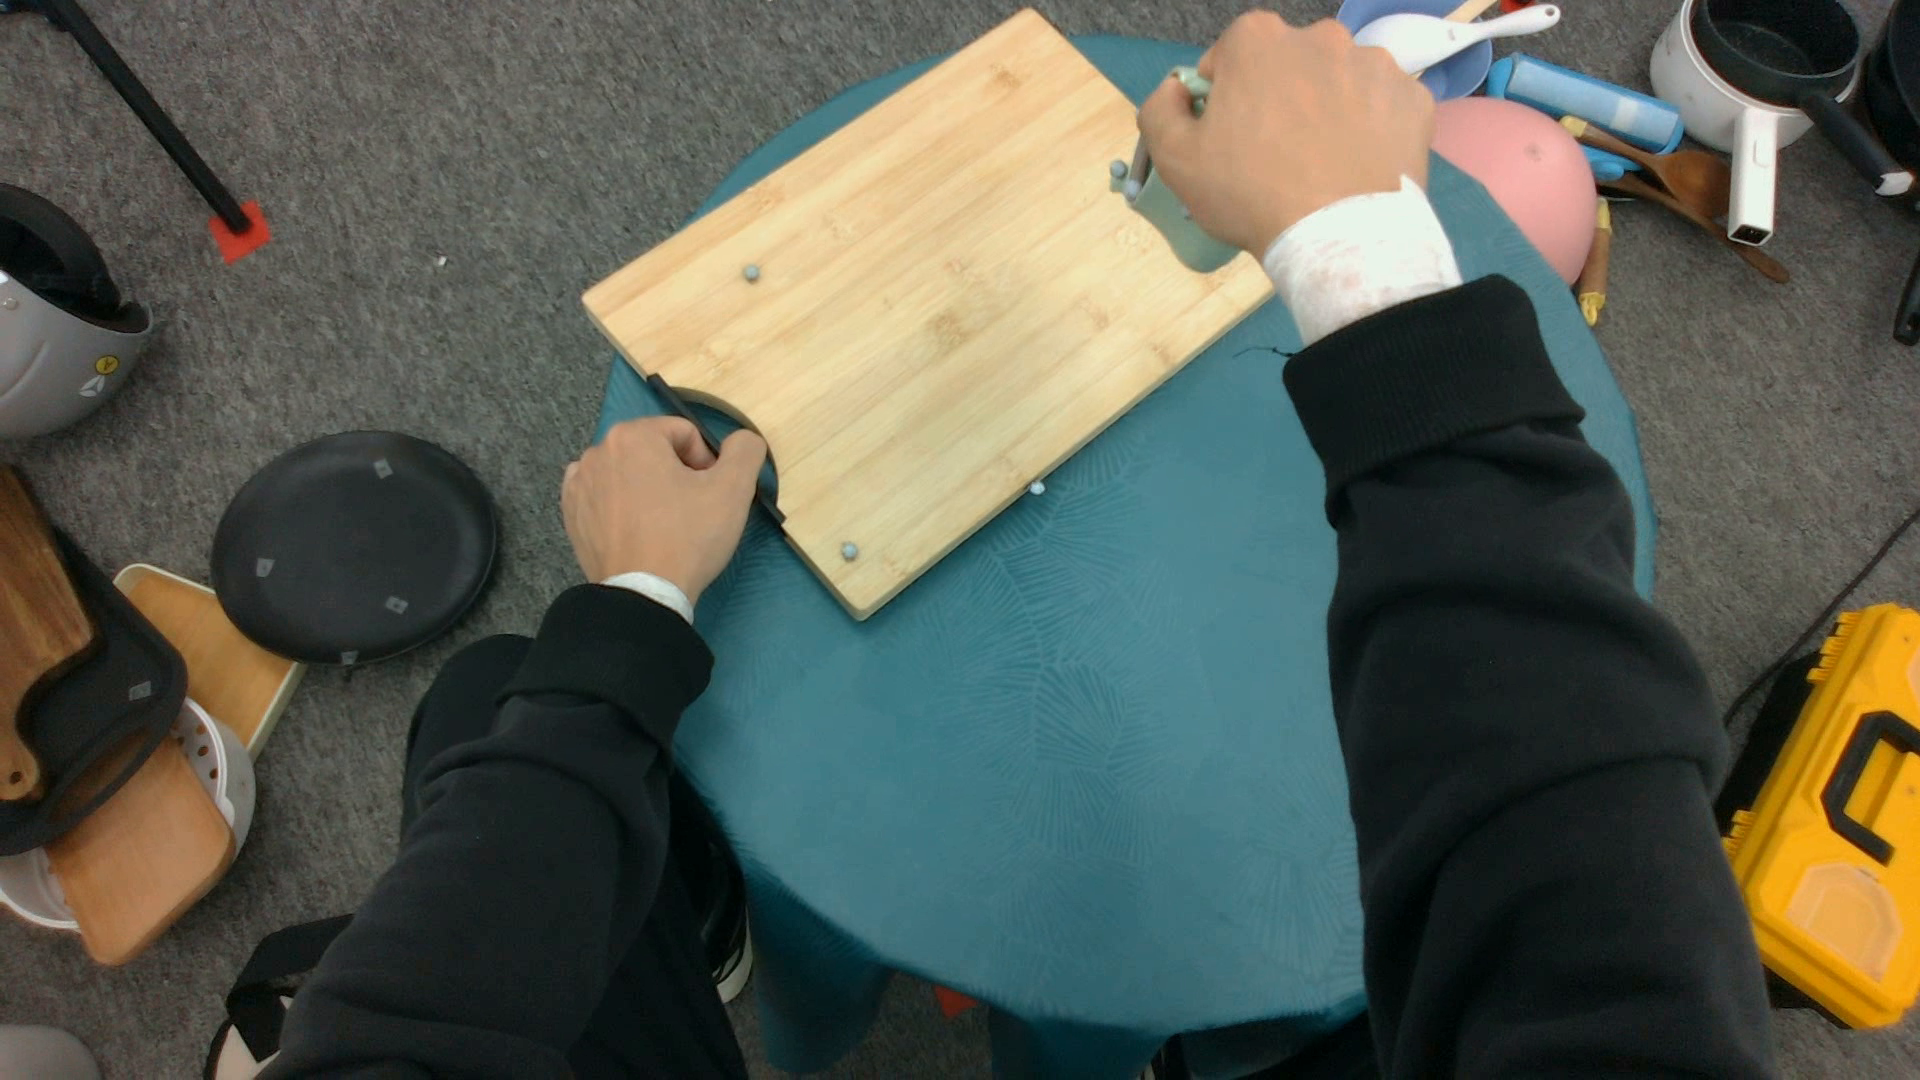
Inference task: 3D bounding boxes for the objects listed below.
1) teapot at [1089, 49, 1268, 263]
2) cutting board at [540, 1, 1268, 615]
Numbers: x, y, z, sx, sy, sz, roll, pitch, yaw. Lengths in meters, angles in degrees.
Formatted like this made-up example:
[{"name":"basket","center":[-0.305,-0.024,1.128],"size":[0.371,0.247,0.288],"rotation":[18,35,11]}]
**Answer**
[{"name":"teapot","center":[0.101,-0.177,0.619],"size":[0.061,0.136,0.096],"rotation":[16,82,-6]},{"name":"cutting board","center":[-0.022,-0.150,0.791],"size":[0.350,0.023,0.251],"rotation":[-40,78,-19]}]
